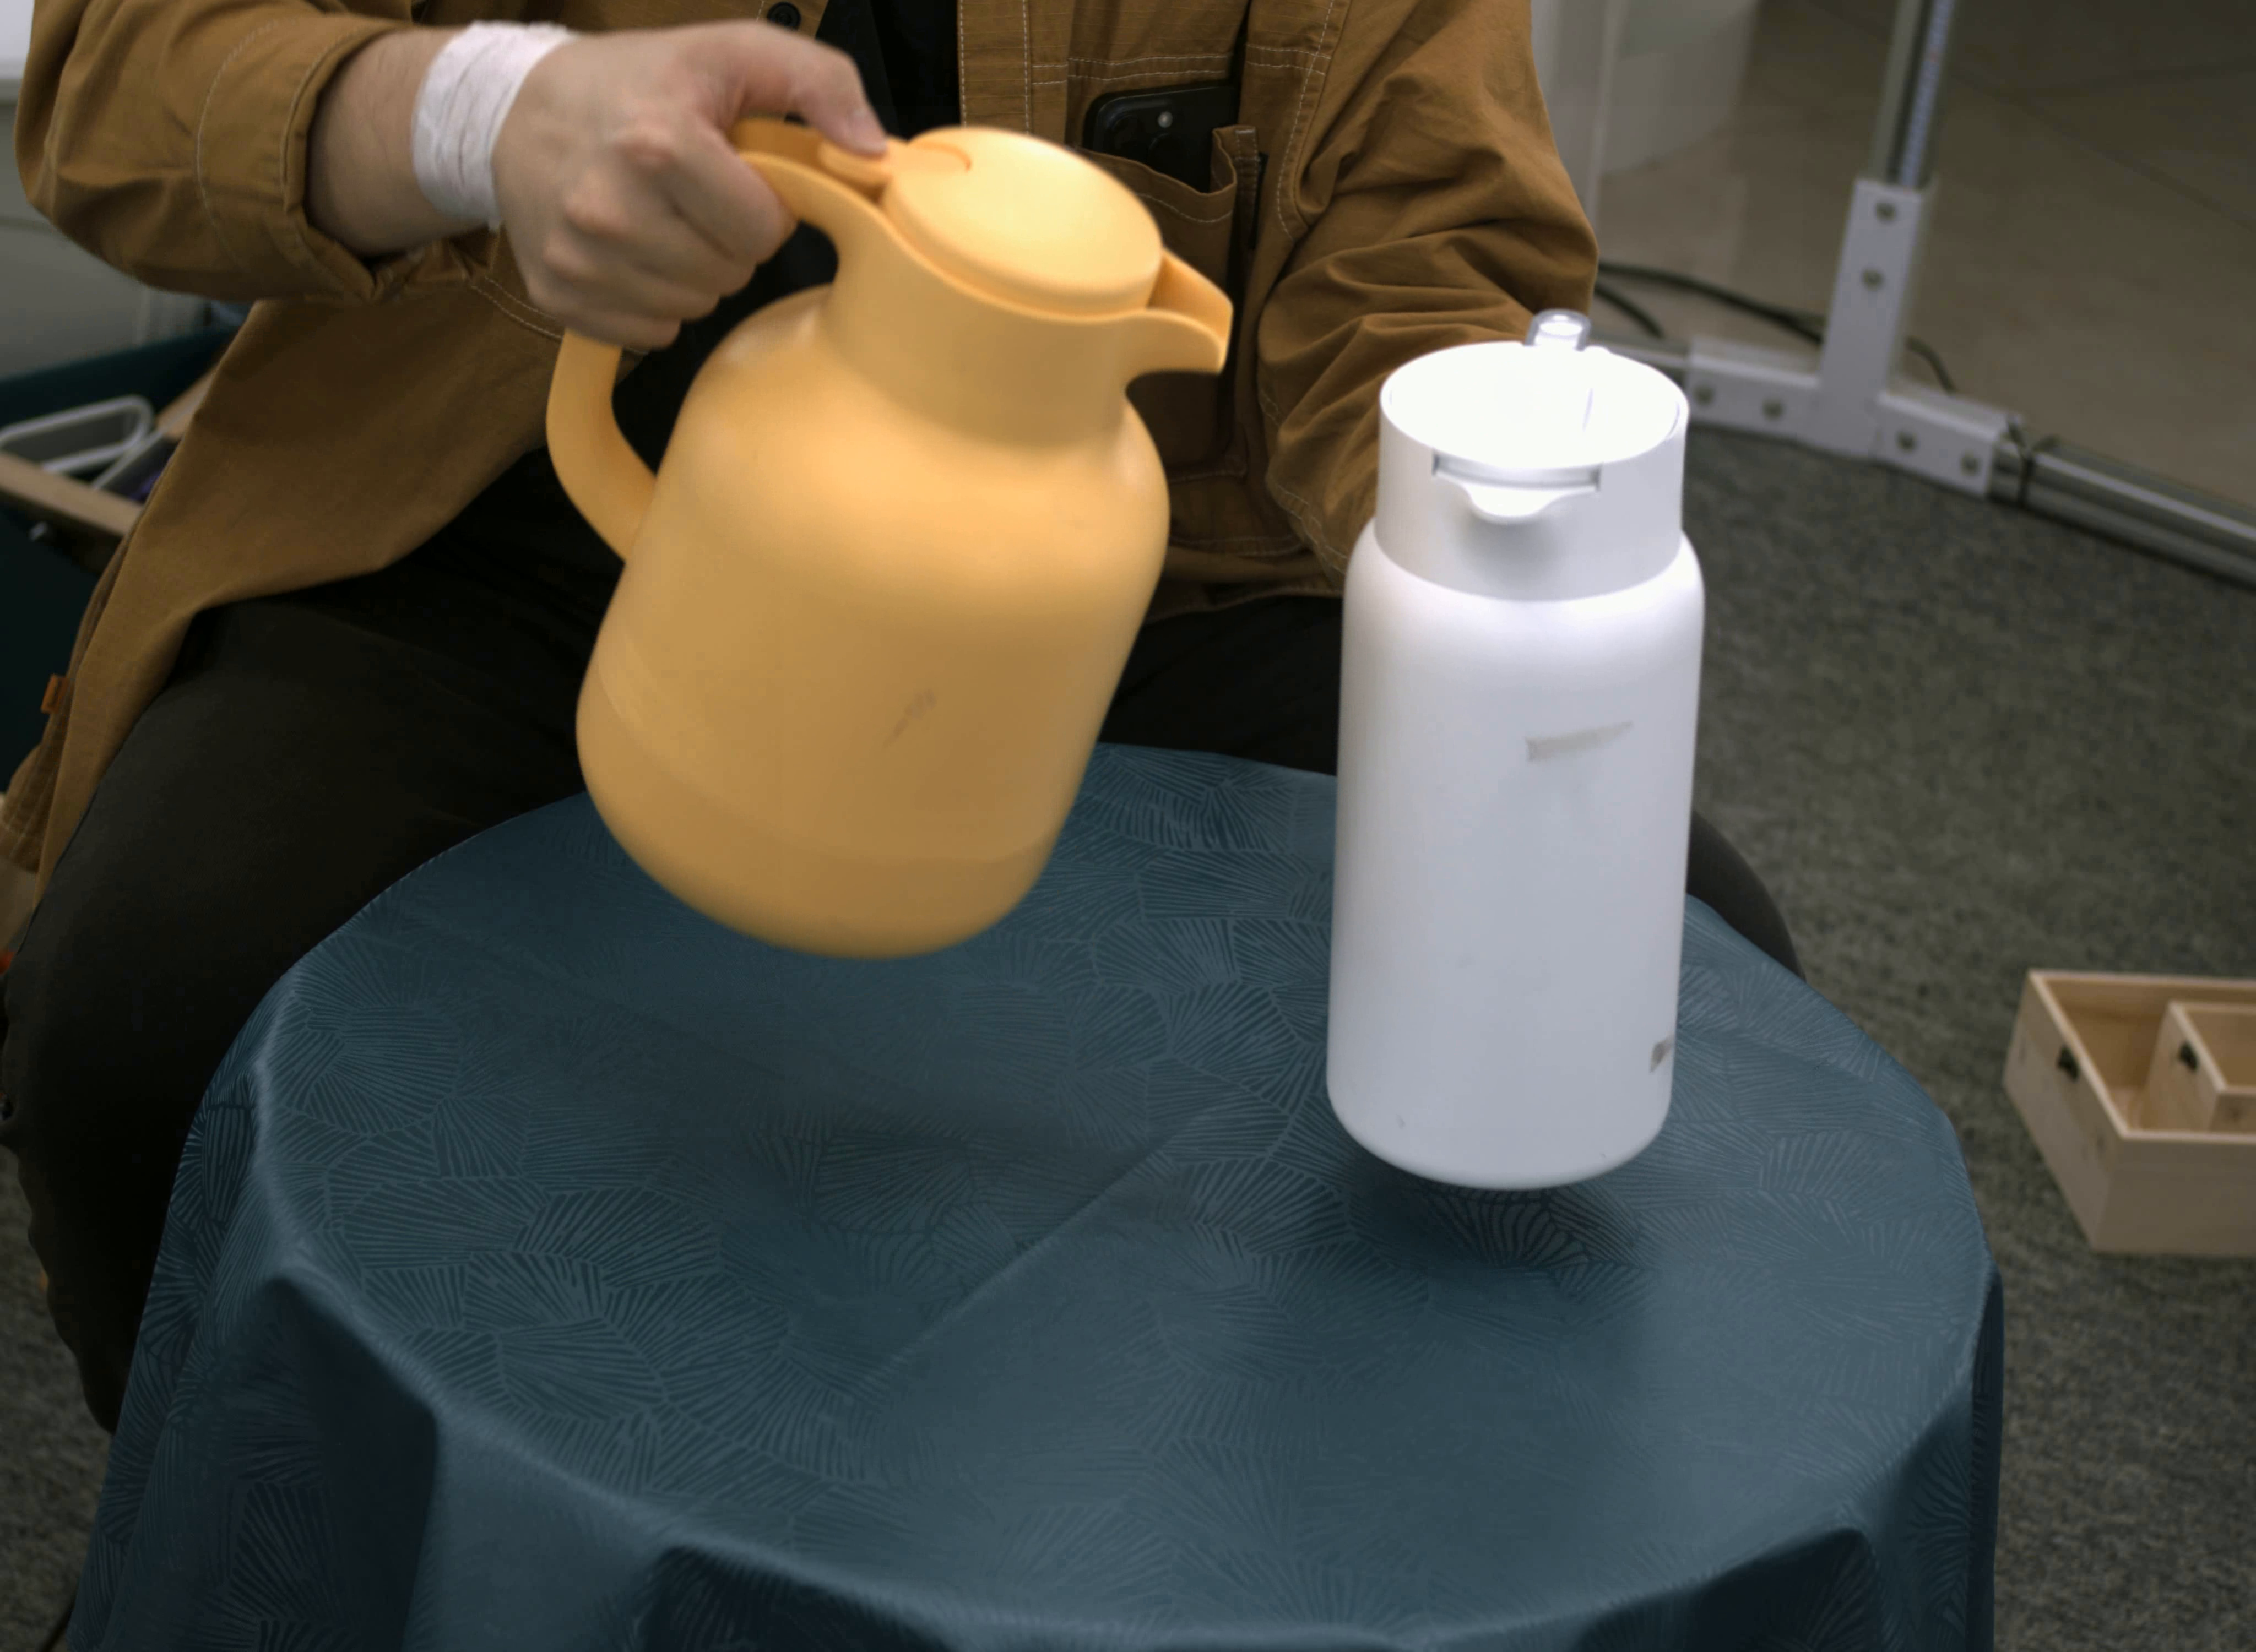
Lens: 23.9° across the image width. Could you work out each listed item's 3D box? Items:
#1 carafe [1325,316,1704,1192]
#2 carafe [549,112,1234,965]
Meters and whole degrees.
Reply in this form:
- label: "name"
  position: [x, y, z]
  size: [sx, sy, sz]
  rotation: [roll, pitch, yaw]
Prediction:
- label: "carafe"
  position: [0.129, -0.027, 1.765]
  size: [0.124, 0.268, 0.173]
  rotation: [4, 27, 10]
- label: "carafe"
  position: [-0.089, -0.102, 1.688]
  size: [0.202, 0.260, 0.164]
  rotation: [24, 30, 0]
